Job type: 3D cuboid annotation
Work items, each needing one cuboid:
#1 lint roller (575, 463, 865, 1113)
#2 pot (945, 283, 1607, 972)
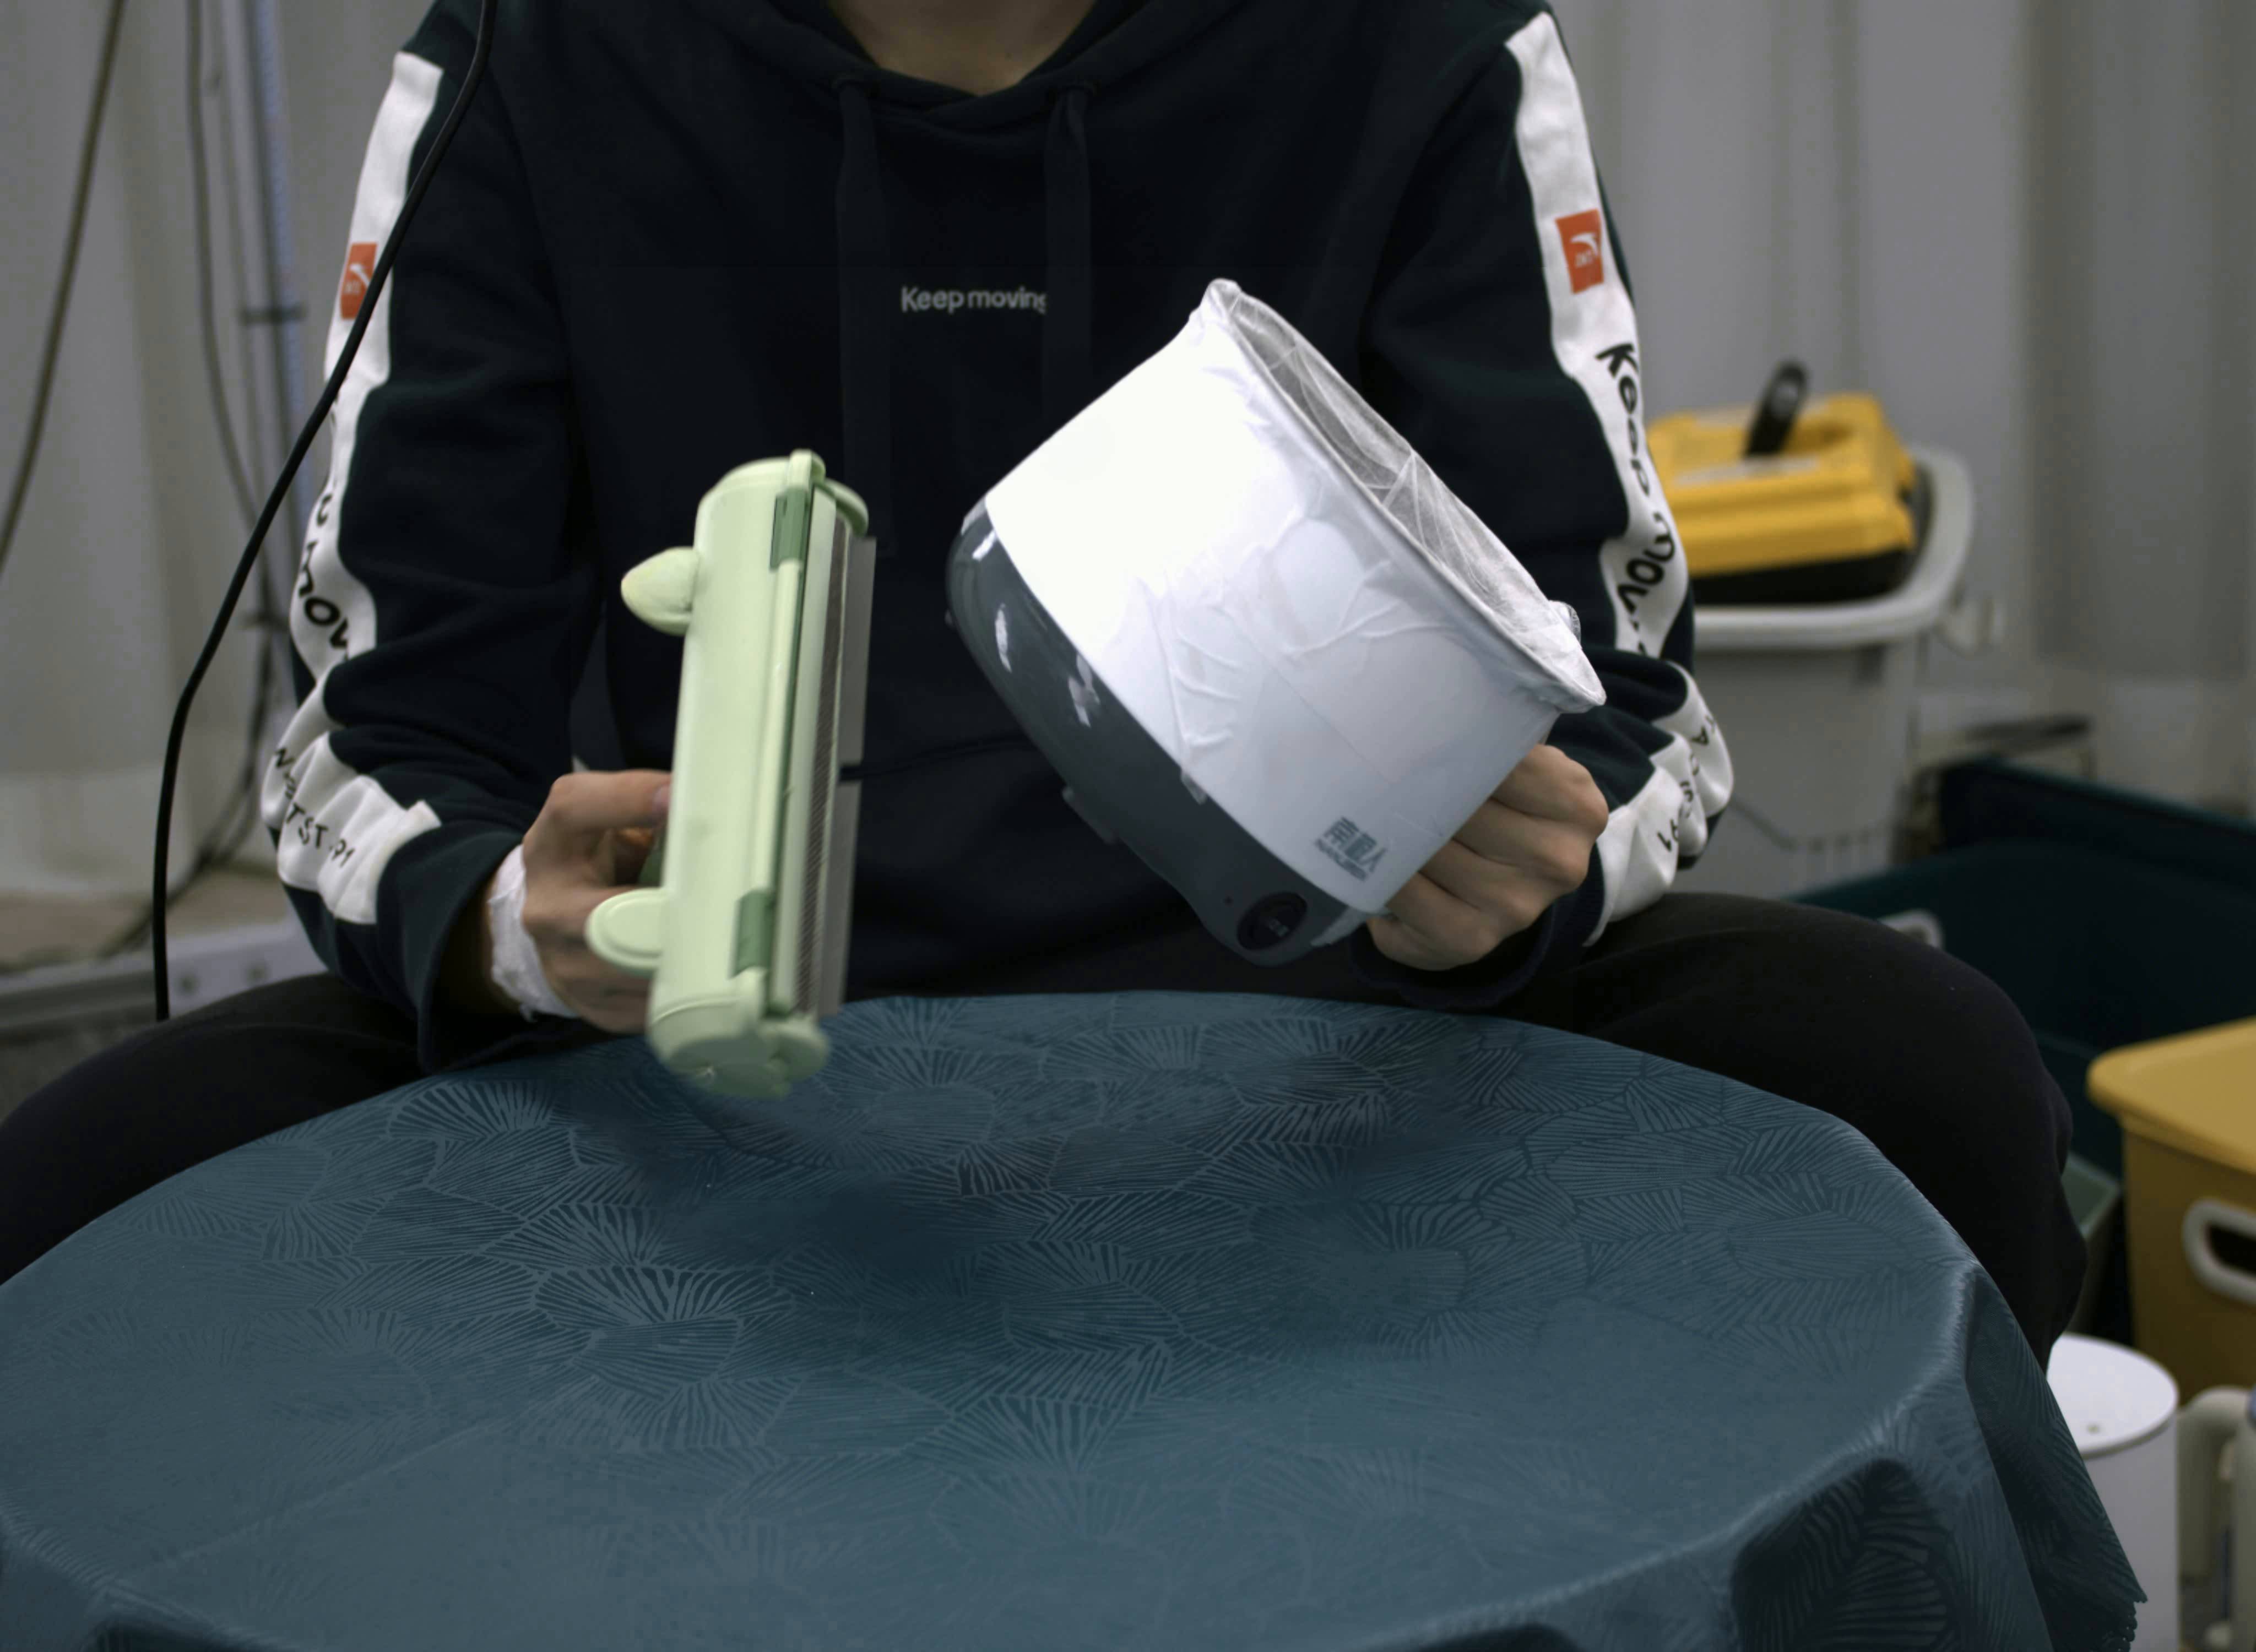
[{"bbox_3d":[-0.146,0.005,1.712,0.081,0.201,0.182,17,-28,-23],"label":"lint roller"},{"bbox_3d":[0.056,-0.049,1.706,0.231,0.136,0.181,33,17,-50],"label":"pot"}]
